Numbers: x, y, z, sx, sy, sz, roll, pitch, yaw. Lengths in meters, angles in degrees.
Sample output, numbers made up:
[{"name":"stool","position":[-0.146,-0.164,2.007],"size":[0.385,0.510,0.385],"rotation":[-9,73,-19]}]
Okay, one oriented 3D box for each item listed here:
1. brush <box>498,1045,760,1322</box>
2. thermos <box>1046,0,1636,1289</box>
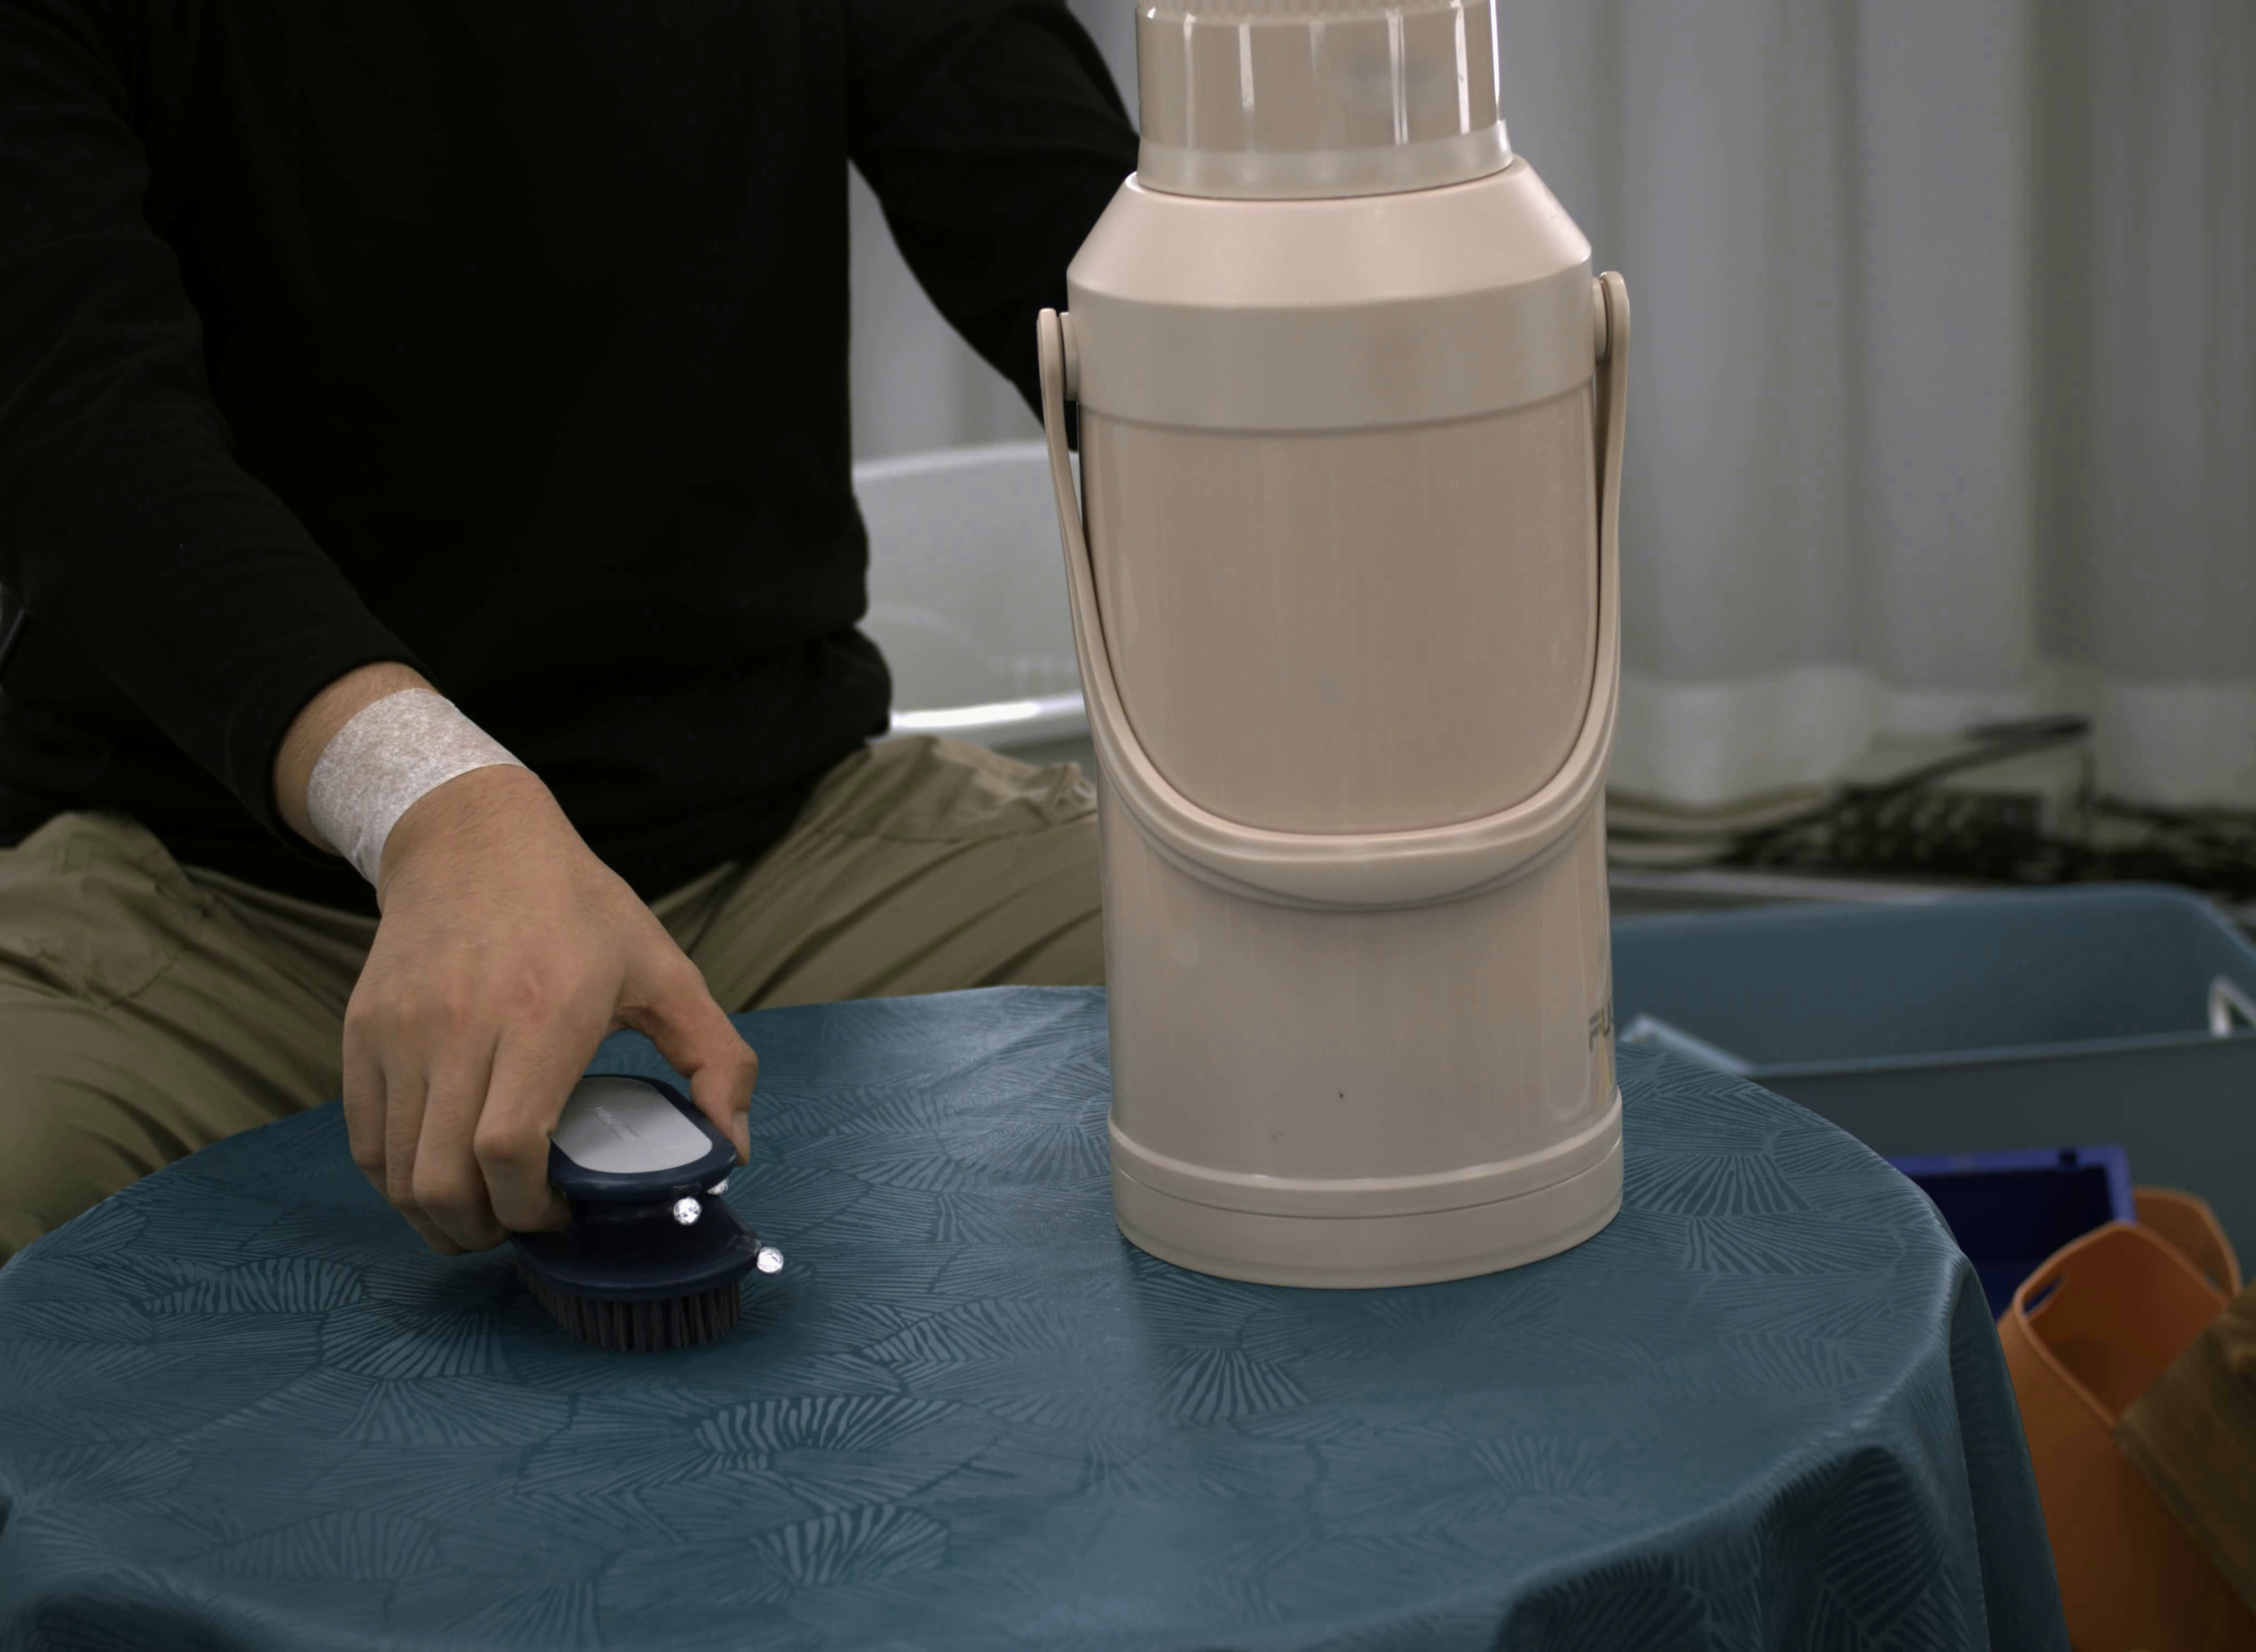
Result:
[{"name":"brush","position":[-0.150,0.108,1.637],"size":[0.067,0.061,0.122],"rotation":[-9,15,-15]},{"name":"thermos","position":[0.067,-0.078,1.661],"size":[0.174,0.405,0.208],"rotation":[-5,14,-4]}]
